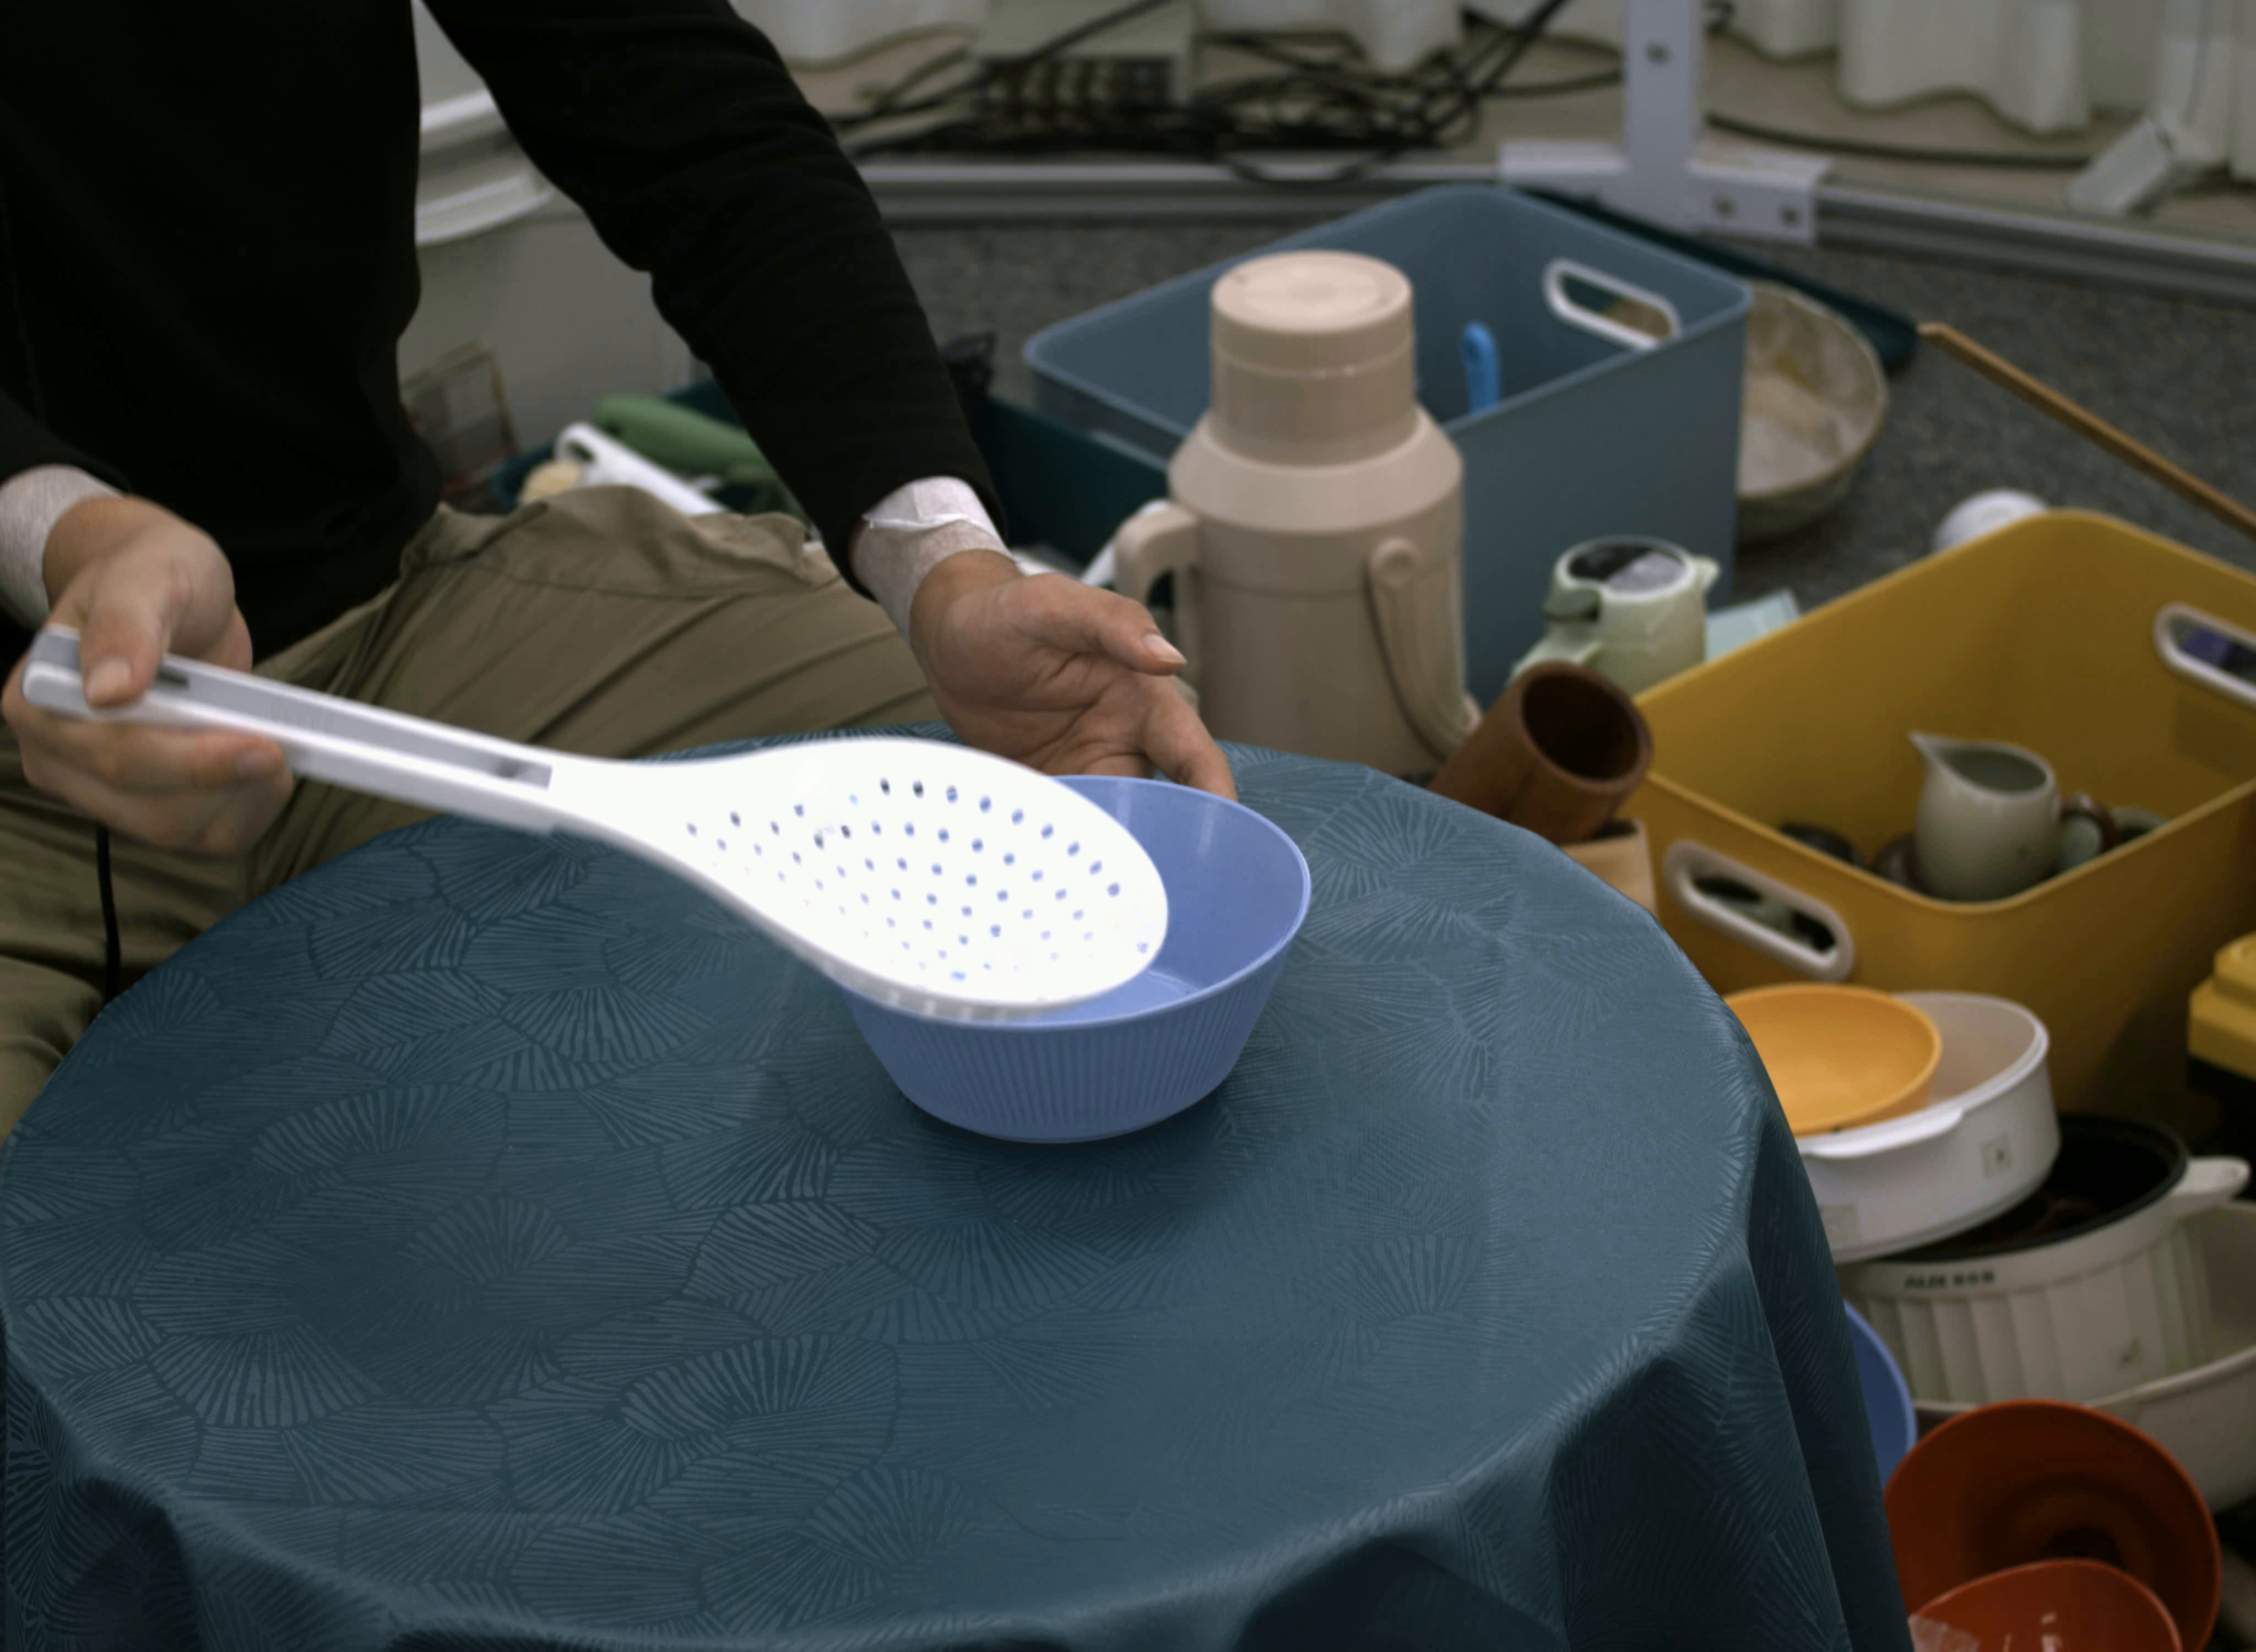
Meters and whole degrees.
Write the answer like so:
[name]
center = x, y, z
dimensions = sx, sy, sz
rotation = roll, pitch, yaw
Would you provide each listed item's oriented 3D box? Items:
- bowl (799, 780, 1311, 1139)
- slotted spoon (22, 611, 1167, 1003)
[bowl]
center = -0.024, 0.051, 1.923
dimensions = 0.175, 0.069, 0.178
rotation = -2, 26, 1
[slotted spoon]
center = -0.159, -0.012, 1.696
dimensions = 0.348, 0.045, 0.138
rotation = 17, 31, -10
